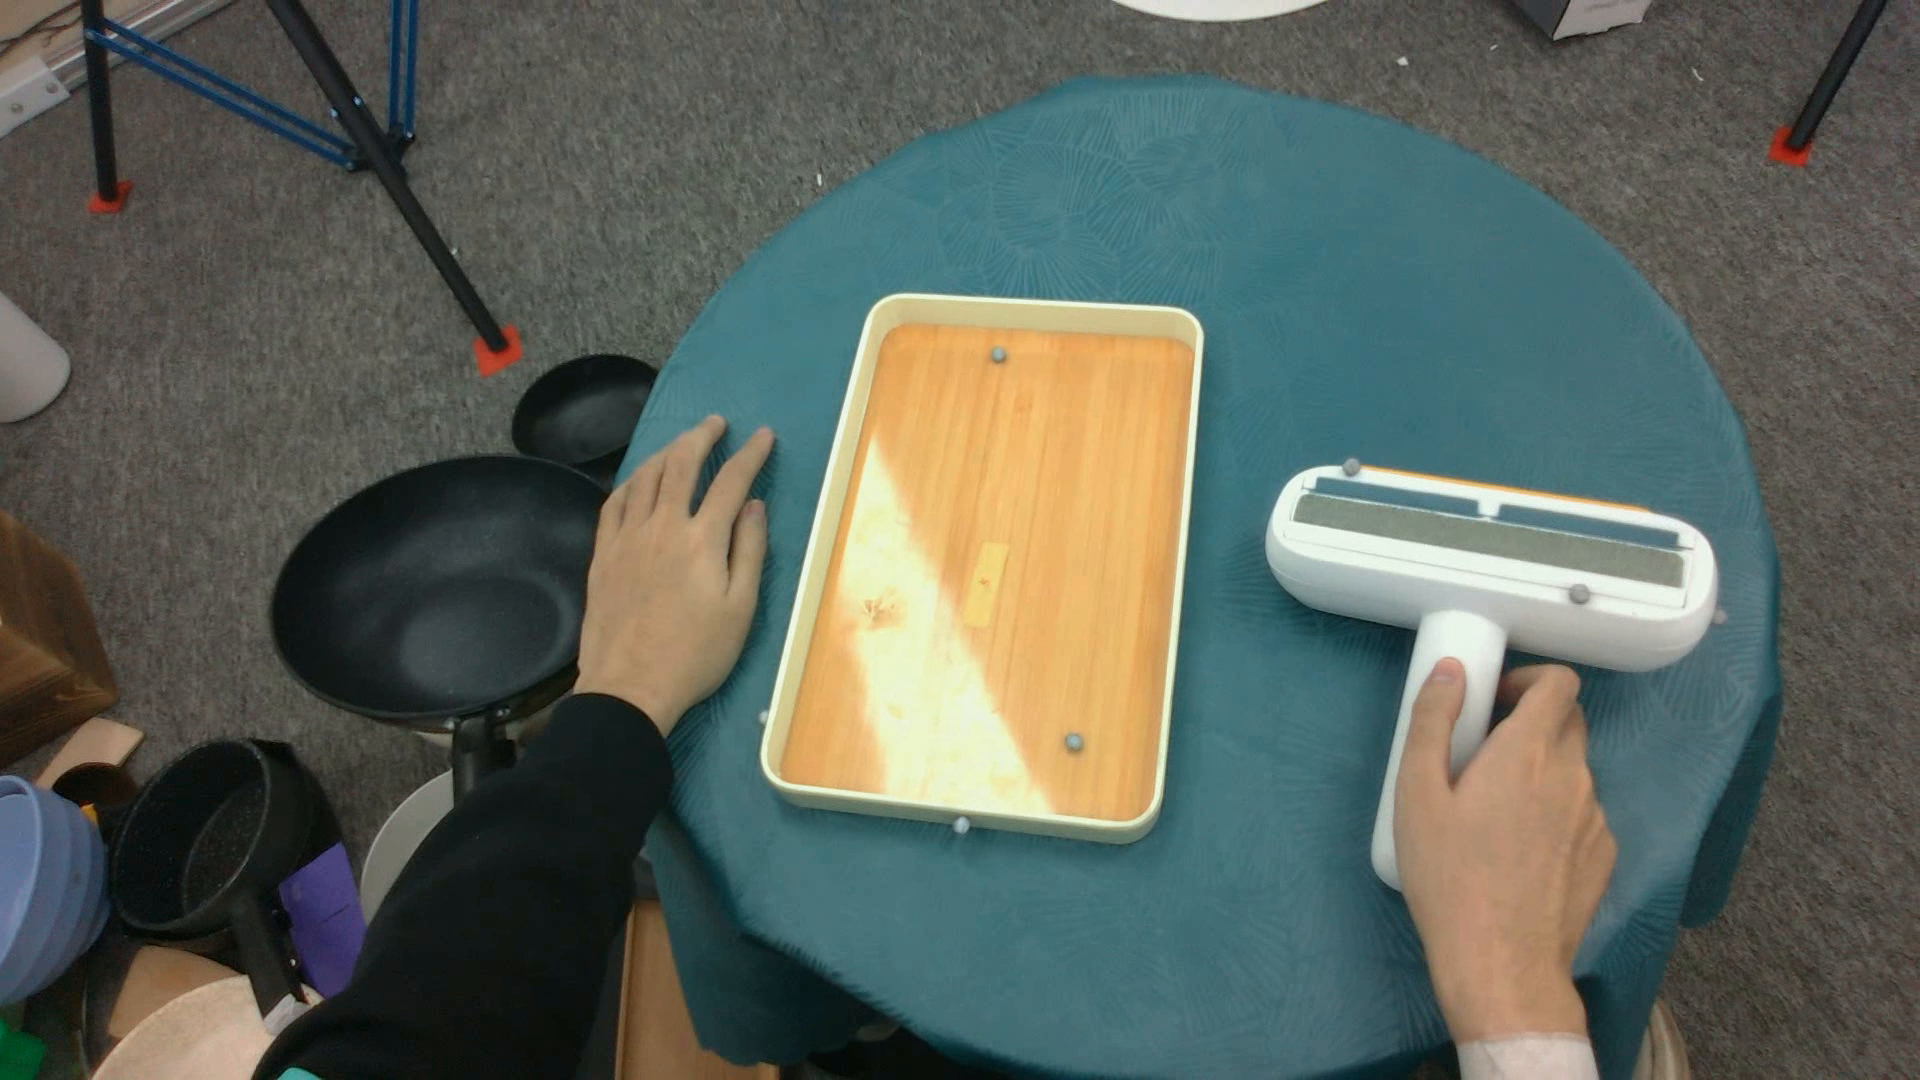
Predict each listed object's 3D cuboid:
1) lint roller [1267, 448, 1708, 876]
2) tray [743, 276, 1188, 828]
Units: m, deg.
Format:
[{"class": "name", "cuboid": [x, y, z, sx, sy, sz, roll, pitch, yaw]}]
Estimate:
[{"class": "lint roller", "cuboid": [0.217, 0.056, 0.624, 0.192, 0.074, 0.193, 17, 65, 21]}, {"class": "tray", "cuboid": [0.012, -0.008, 0.707, 0.191, 0.027, 0.301, 5, 60, 8]}]
